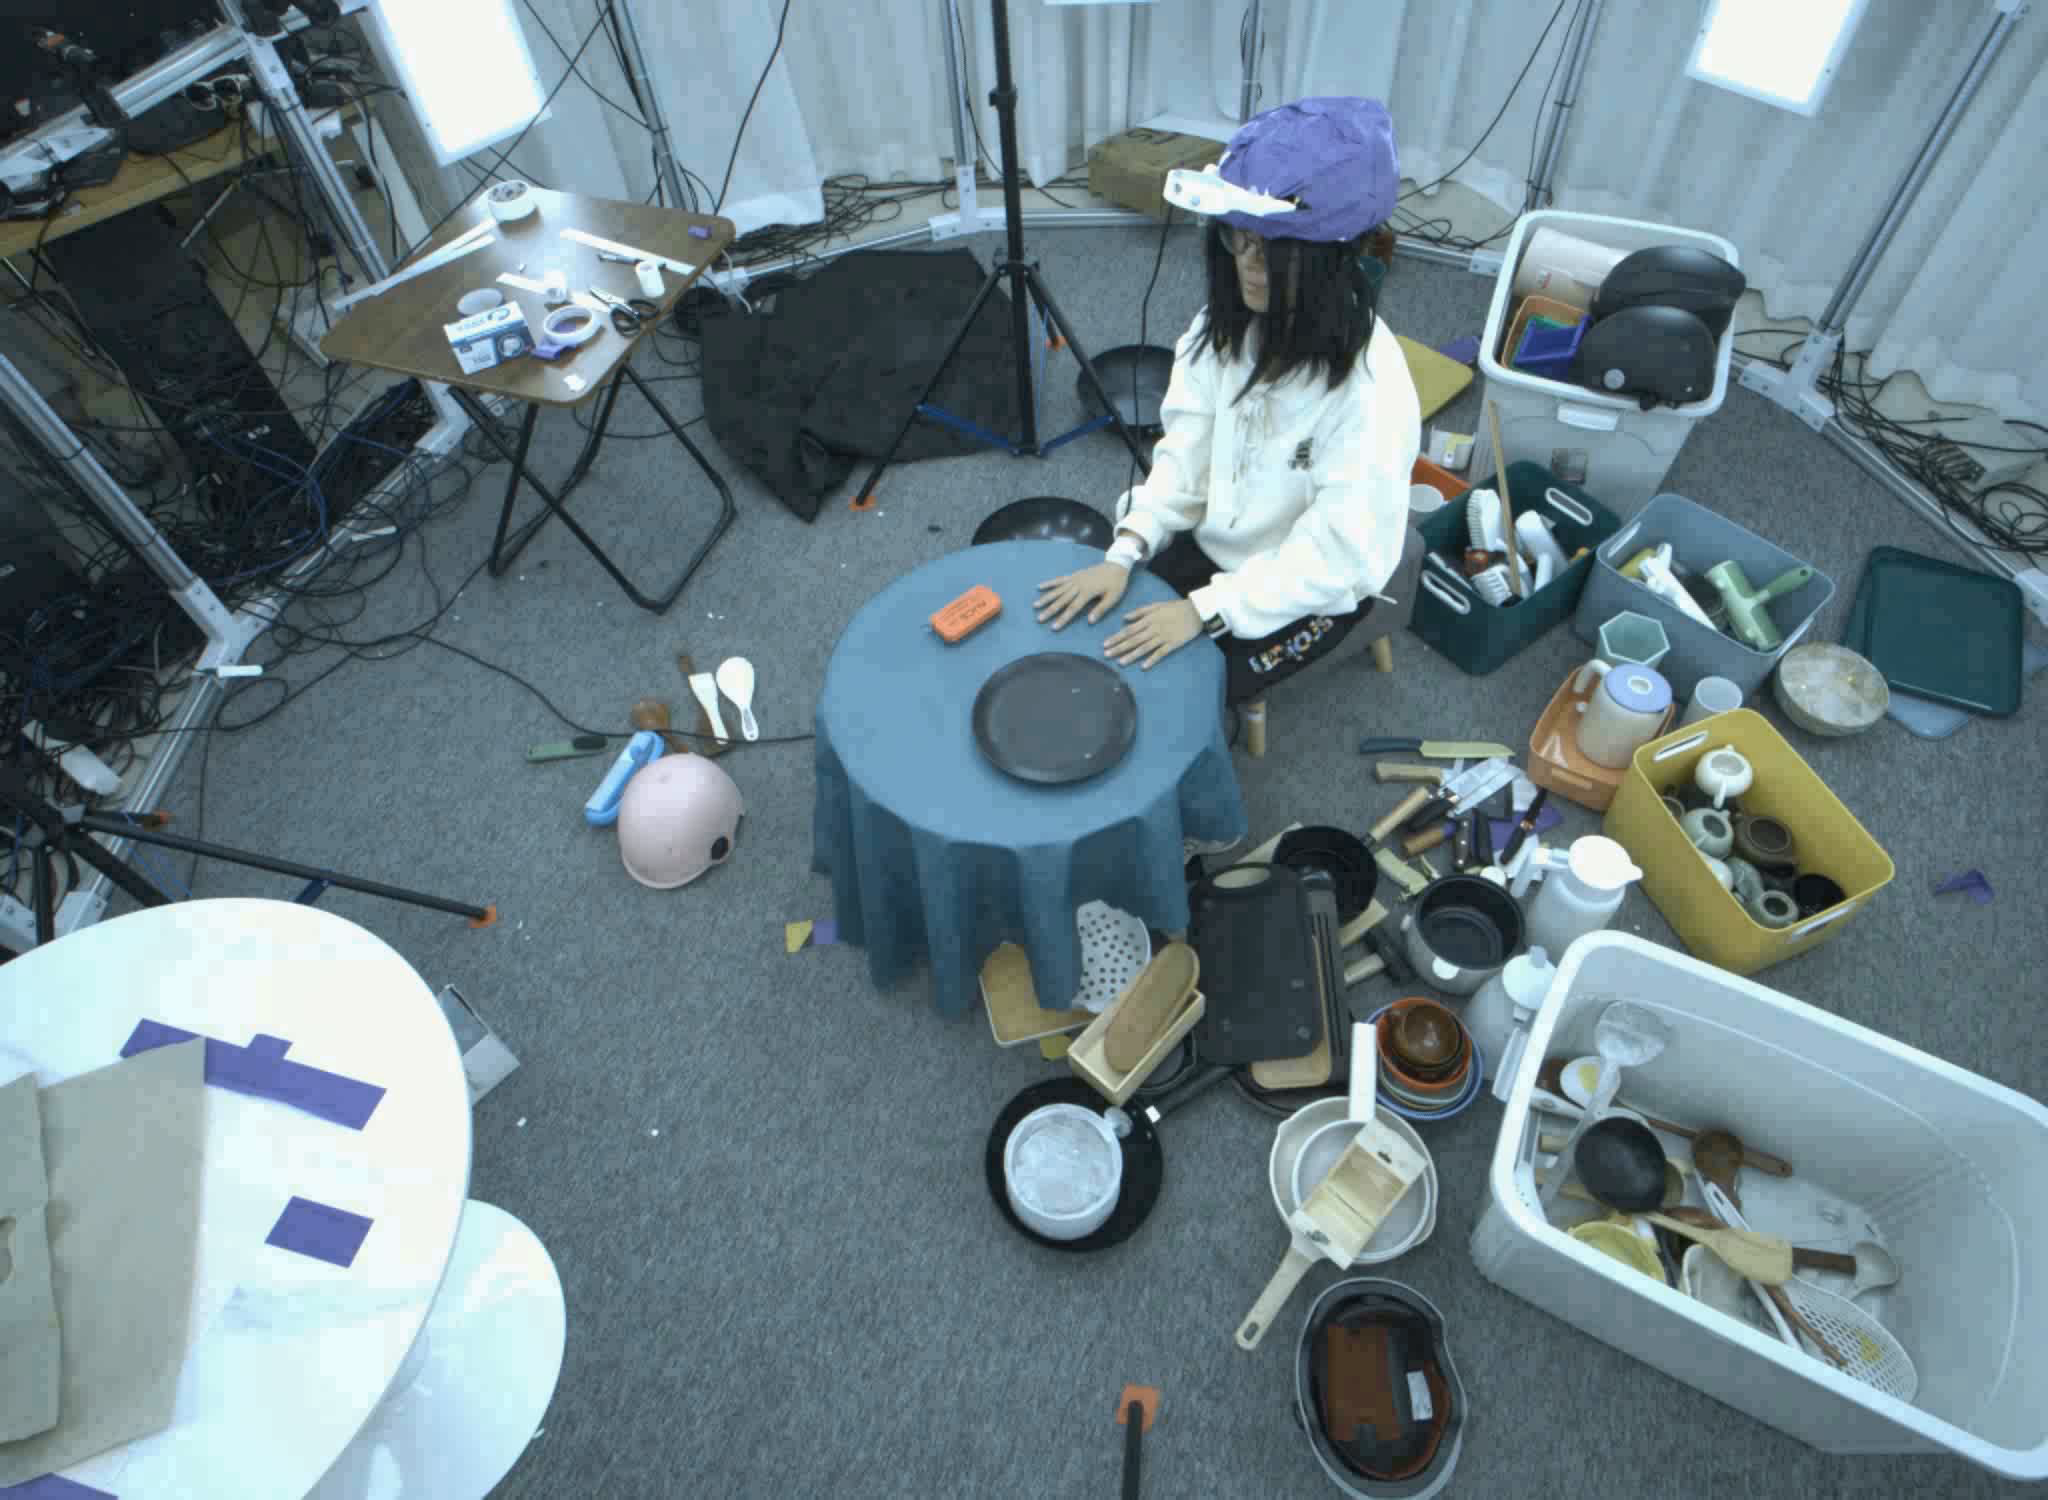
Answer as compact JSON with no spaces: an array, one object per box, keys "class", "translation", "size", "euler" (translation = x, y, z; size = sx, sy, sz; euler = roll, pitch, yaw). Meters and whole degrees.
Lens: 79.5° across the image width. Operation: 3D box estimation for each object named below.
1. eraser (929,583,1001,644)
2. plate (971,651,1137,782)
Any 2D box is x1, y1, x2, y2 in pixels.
[{"class":"eraser","translation":[-0.093,-0.215,1.925],"size":[0.109,0.023,0.058],"euler":[-39,61,-20]},{"class":"plate","translation":[0.044,-0.047,1.806],"size":[0.244,0.024,0.242],"euler":[0,55,2]}]
